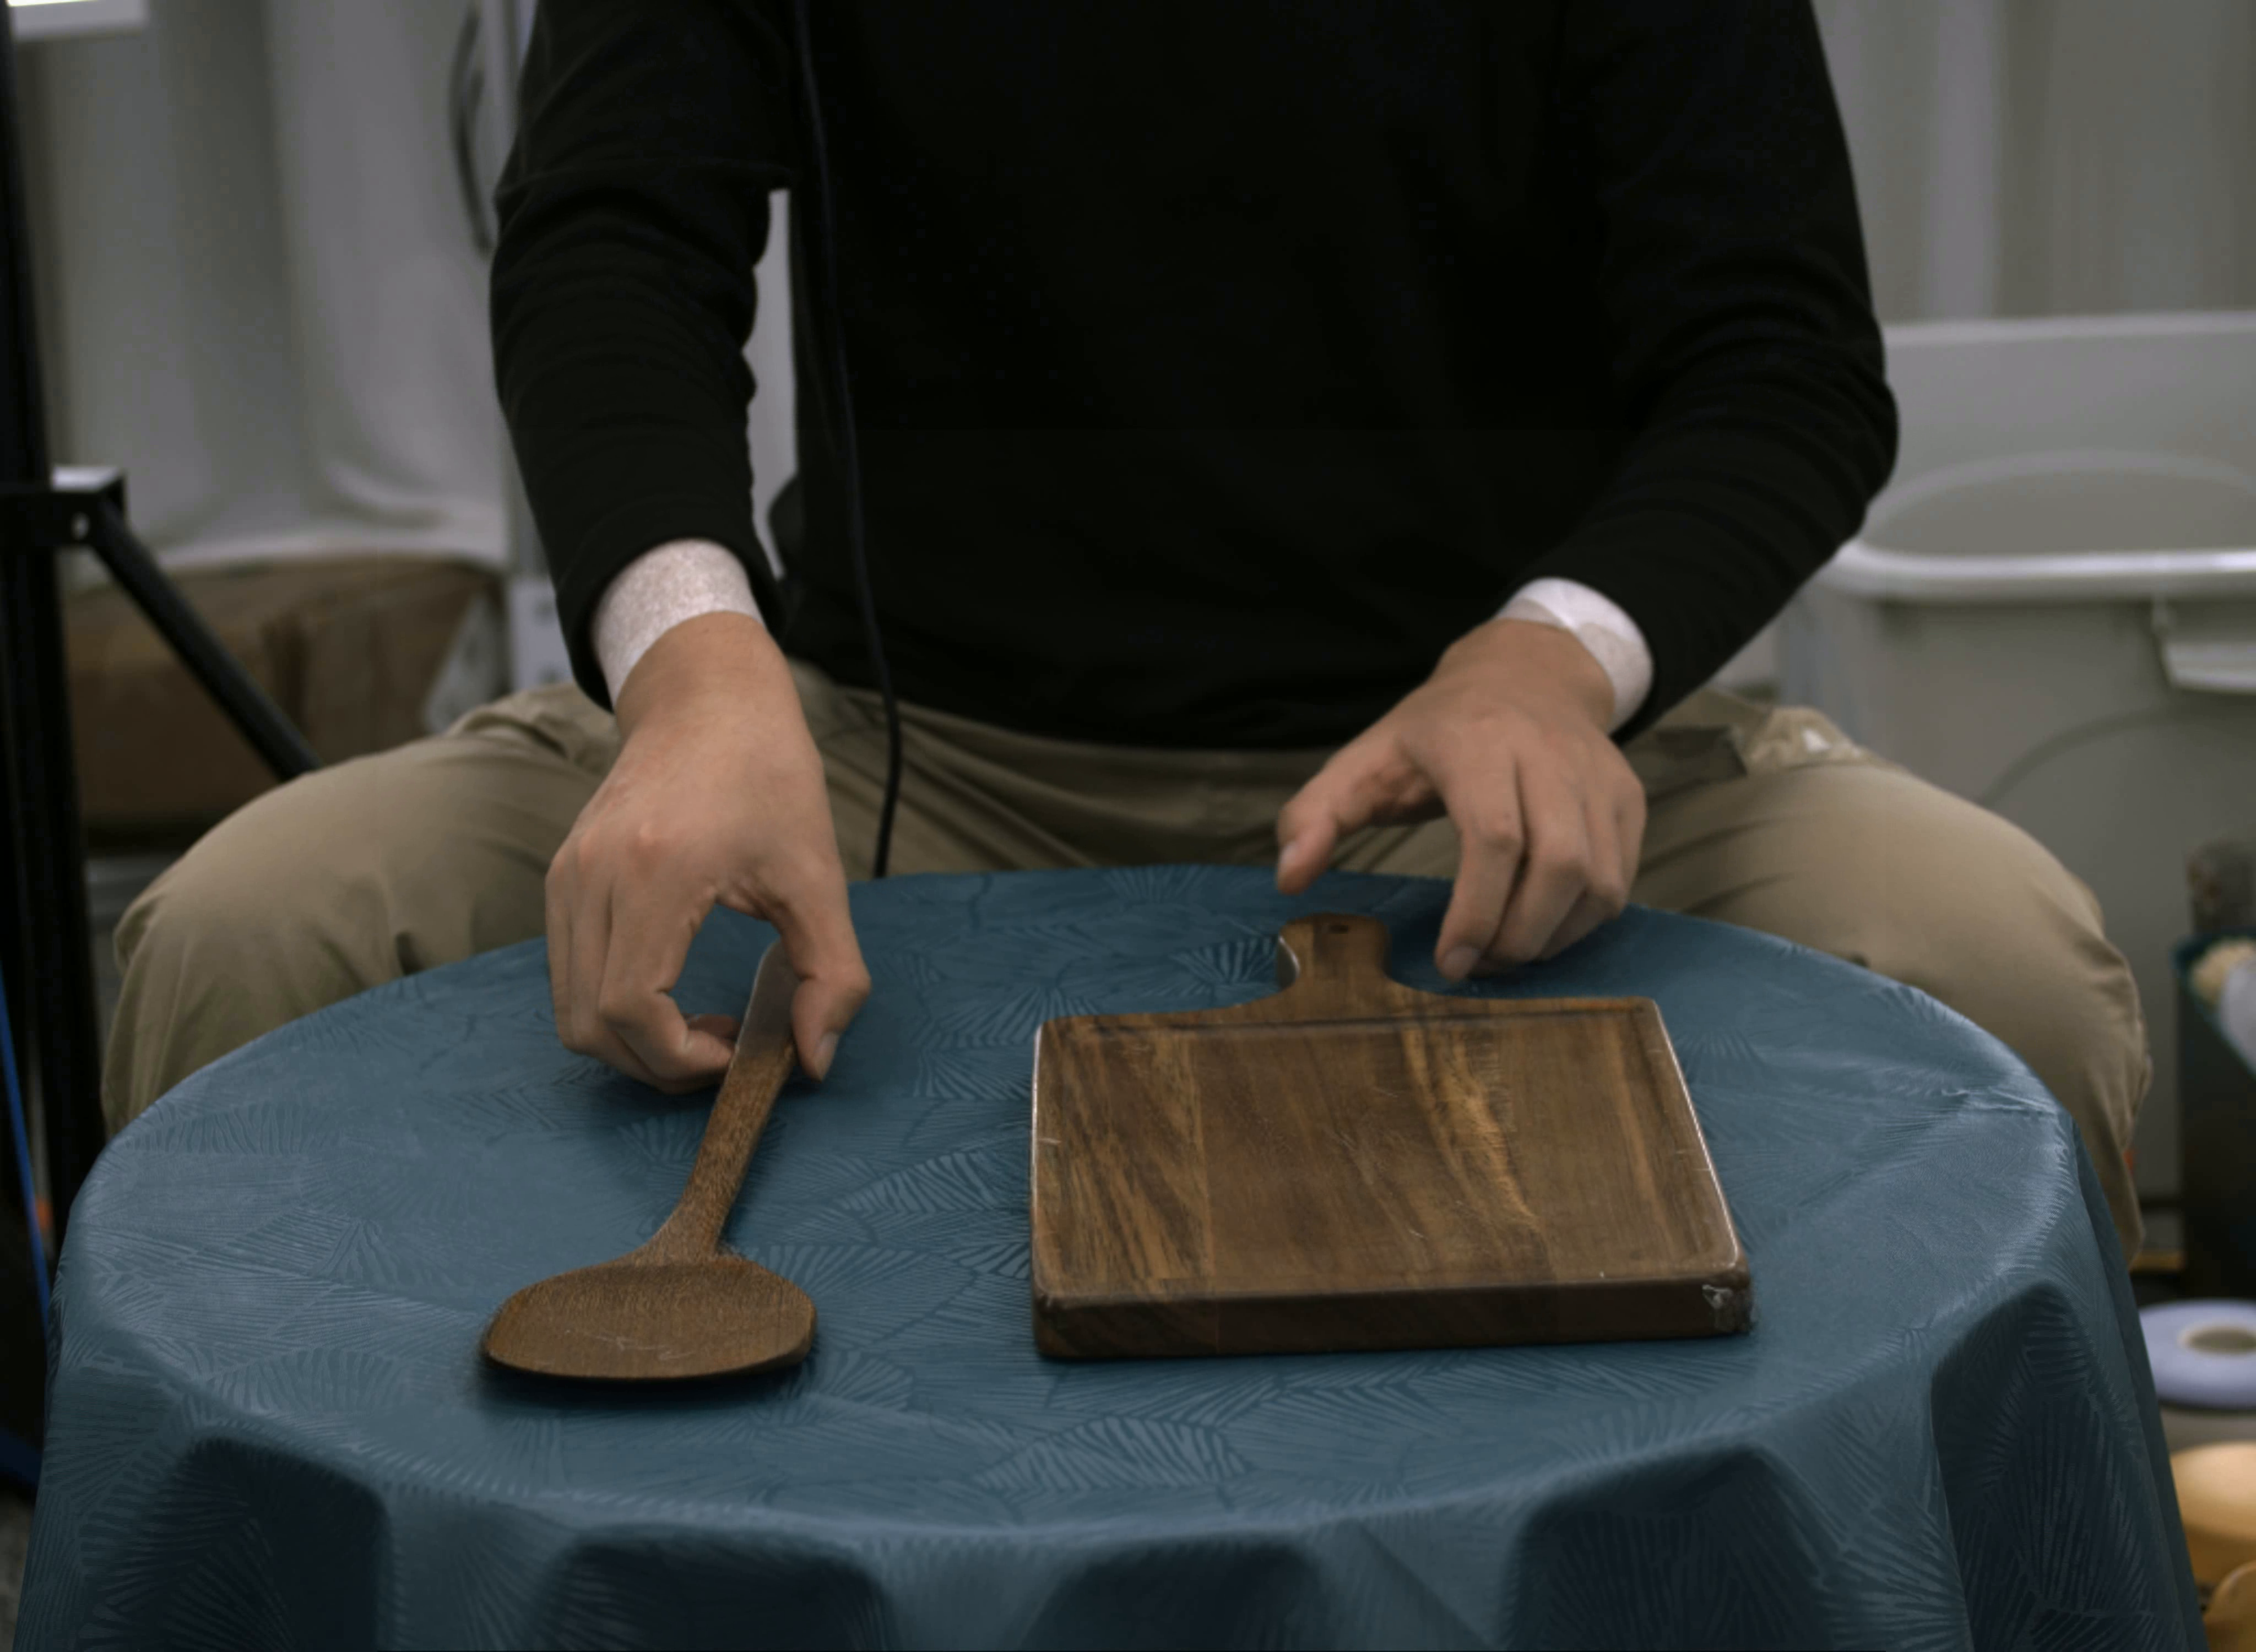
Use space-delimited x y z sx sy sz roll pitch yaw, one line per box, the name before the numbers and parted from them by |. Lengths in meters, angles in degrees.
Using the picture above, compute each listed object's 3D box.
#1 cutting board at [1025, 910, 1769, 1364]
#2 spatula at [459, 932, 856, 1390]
cutting board | 0.070 0.085 1.588 0.200 0.023 0.354 -2 16 0
spatula | -0.119 0.093 1.593 0.096 0.016 0.386 0 17 5
